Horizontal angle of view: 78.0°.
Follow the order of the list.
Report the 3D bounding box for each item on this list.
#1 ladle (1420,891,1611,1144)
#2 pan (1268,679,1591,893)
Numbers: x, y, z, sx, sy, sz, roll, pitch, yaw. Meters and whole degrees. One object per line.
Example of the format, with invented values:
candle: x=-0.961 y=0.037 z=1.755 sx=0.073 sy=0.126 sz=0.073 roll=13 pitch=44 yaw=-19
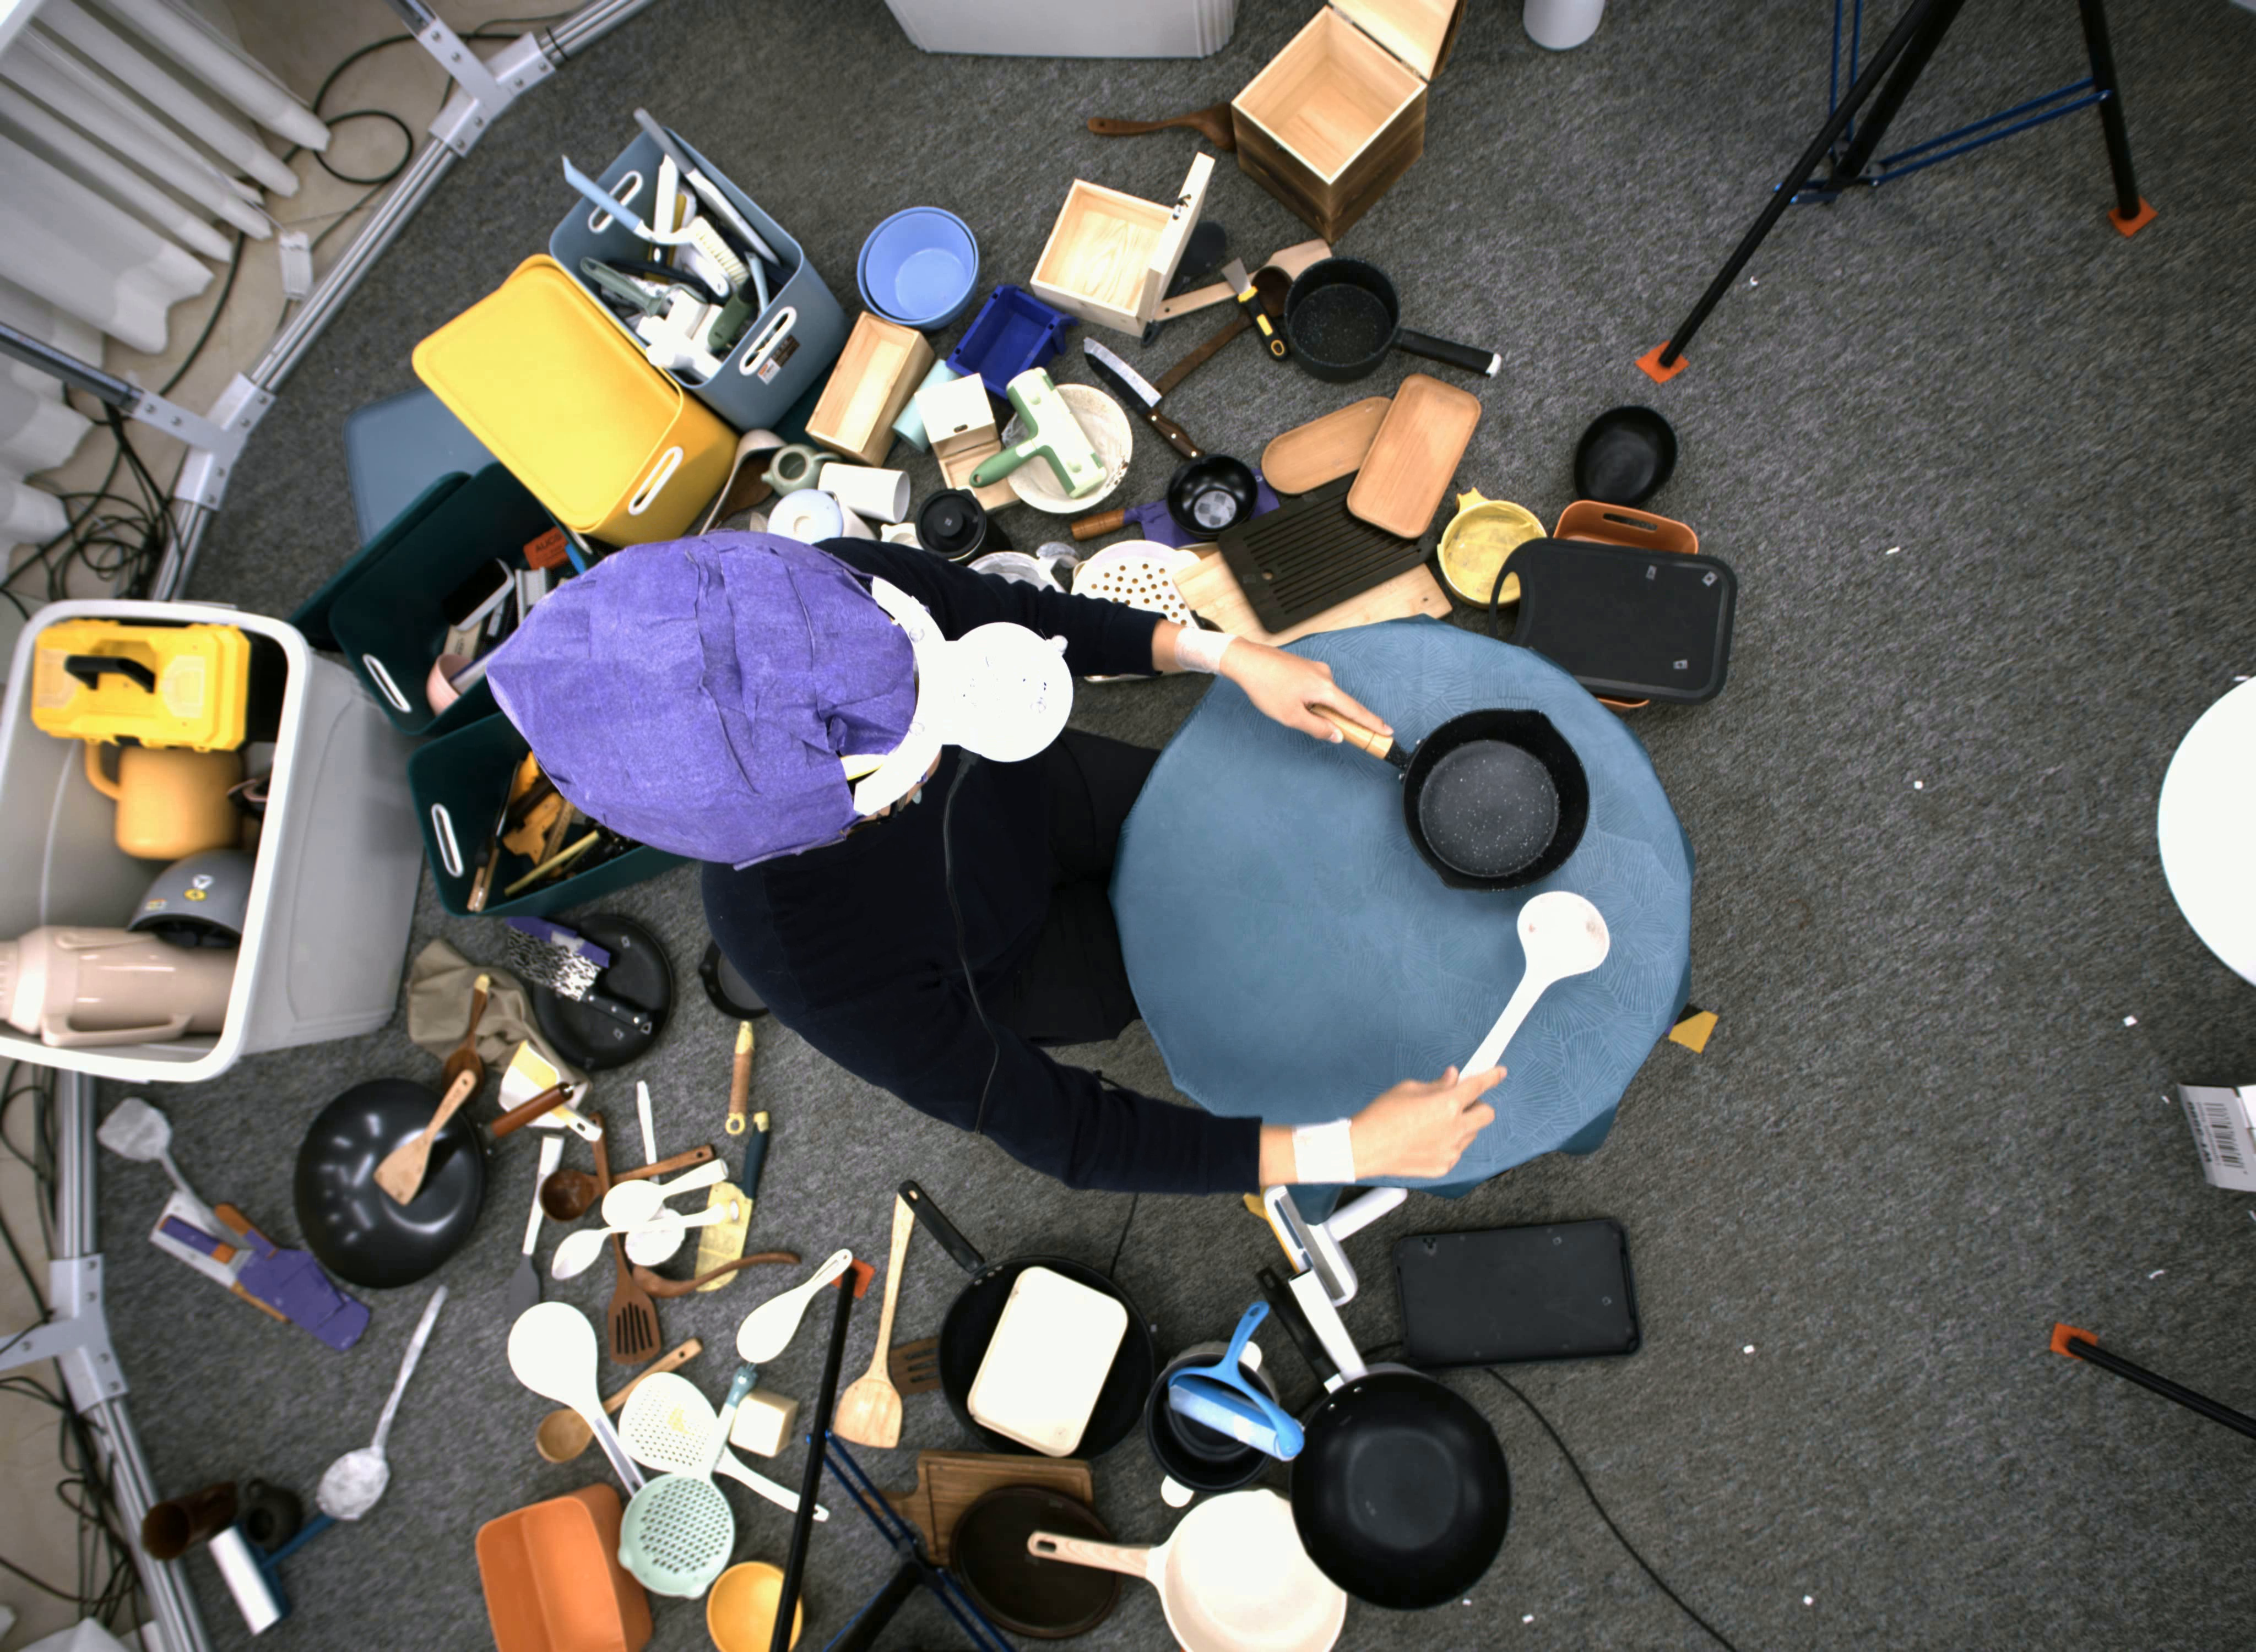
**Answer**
ladle: x=0.354 y=0.176 z=1.286 sx=0.089 sy=0.071 sz=0.270 roll=34 pitch=70 yaw=19
pan: x=0.300 y=-0.059 z=1.407 sx=0.342 sy=0.108 sz=0.208 roll=26 pitch=92 yaw=10
